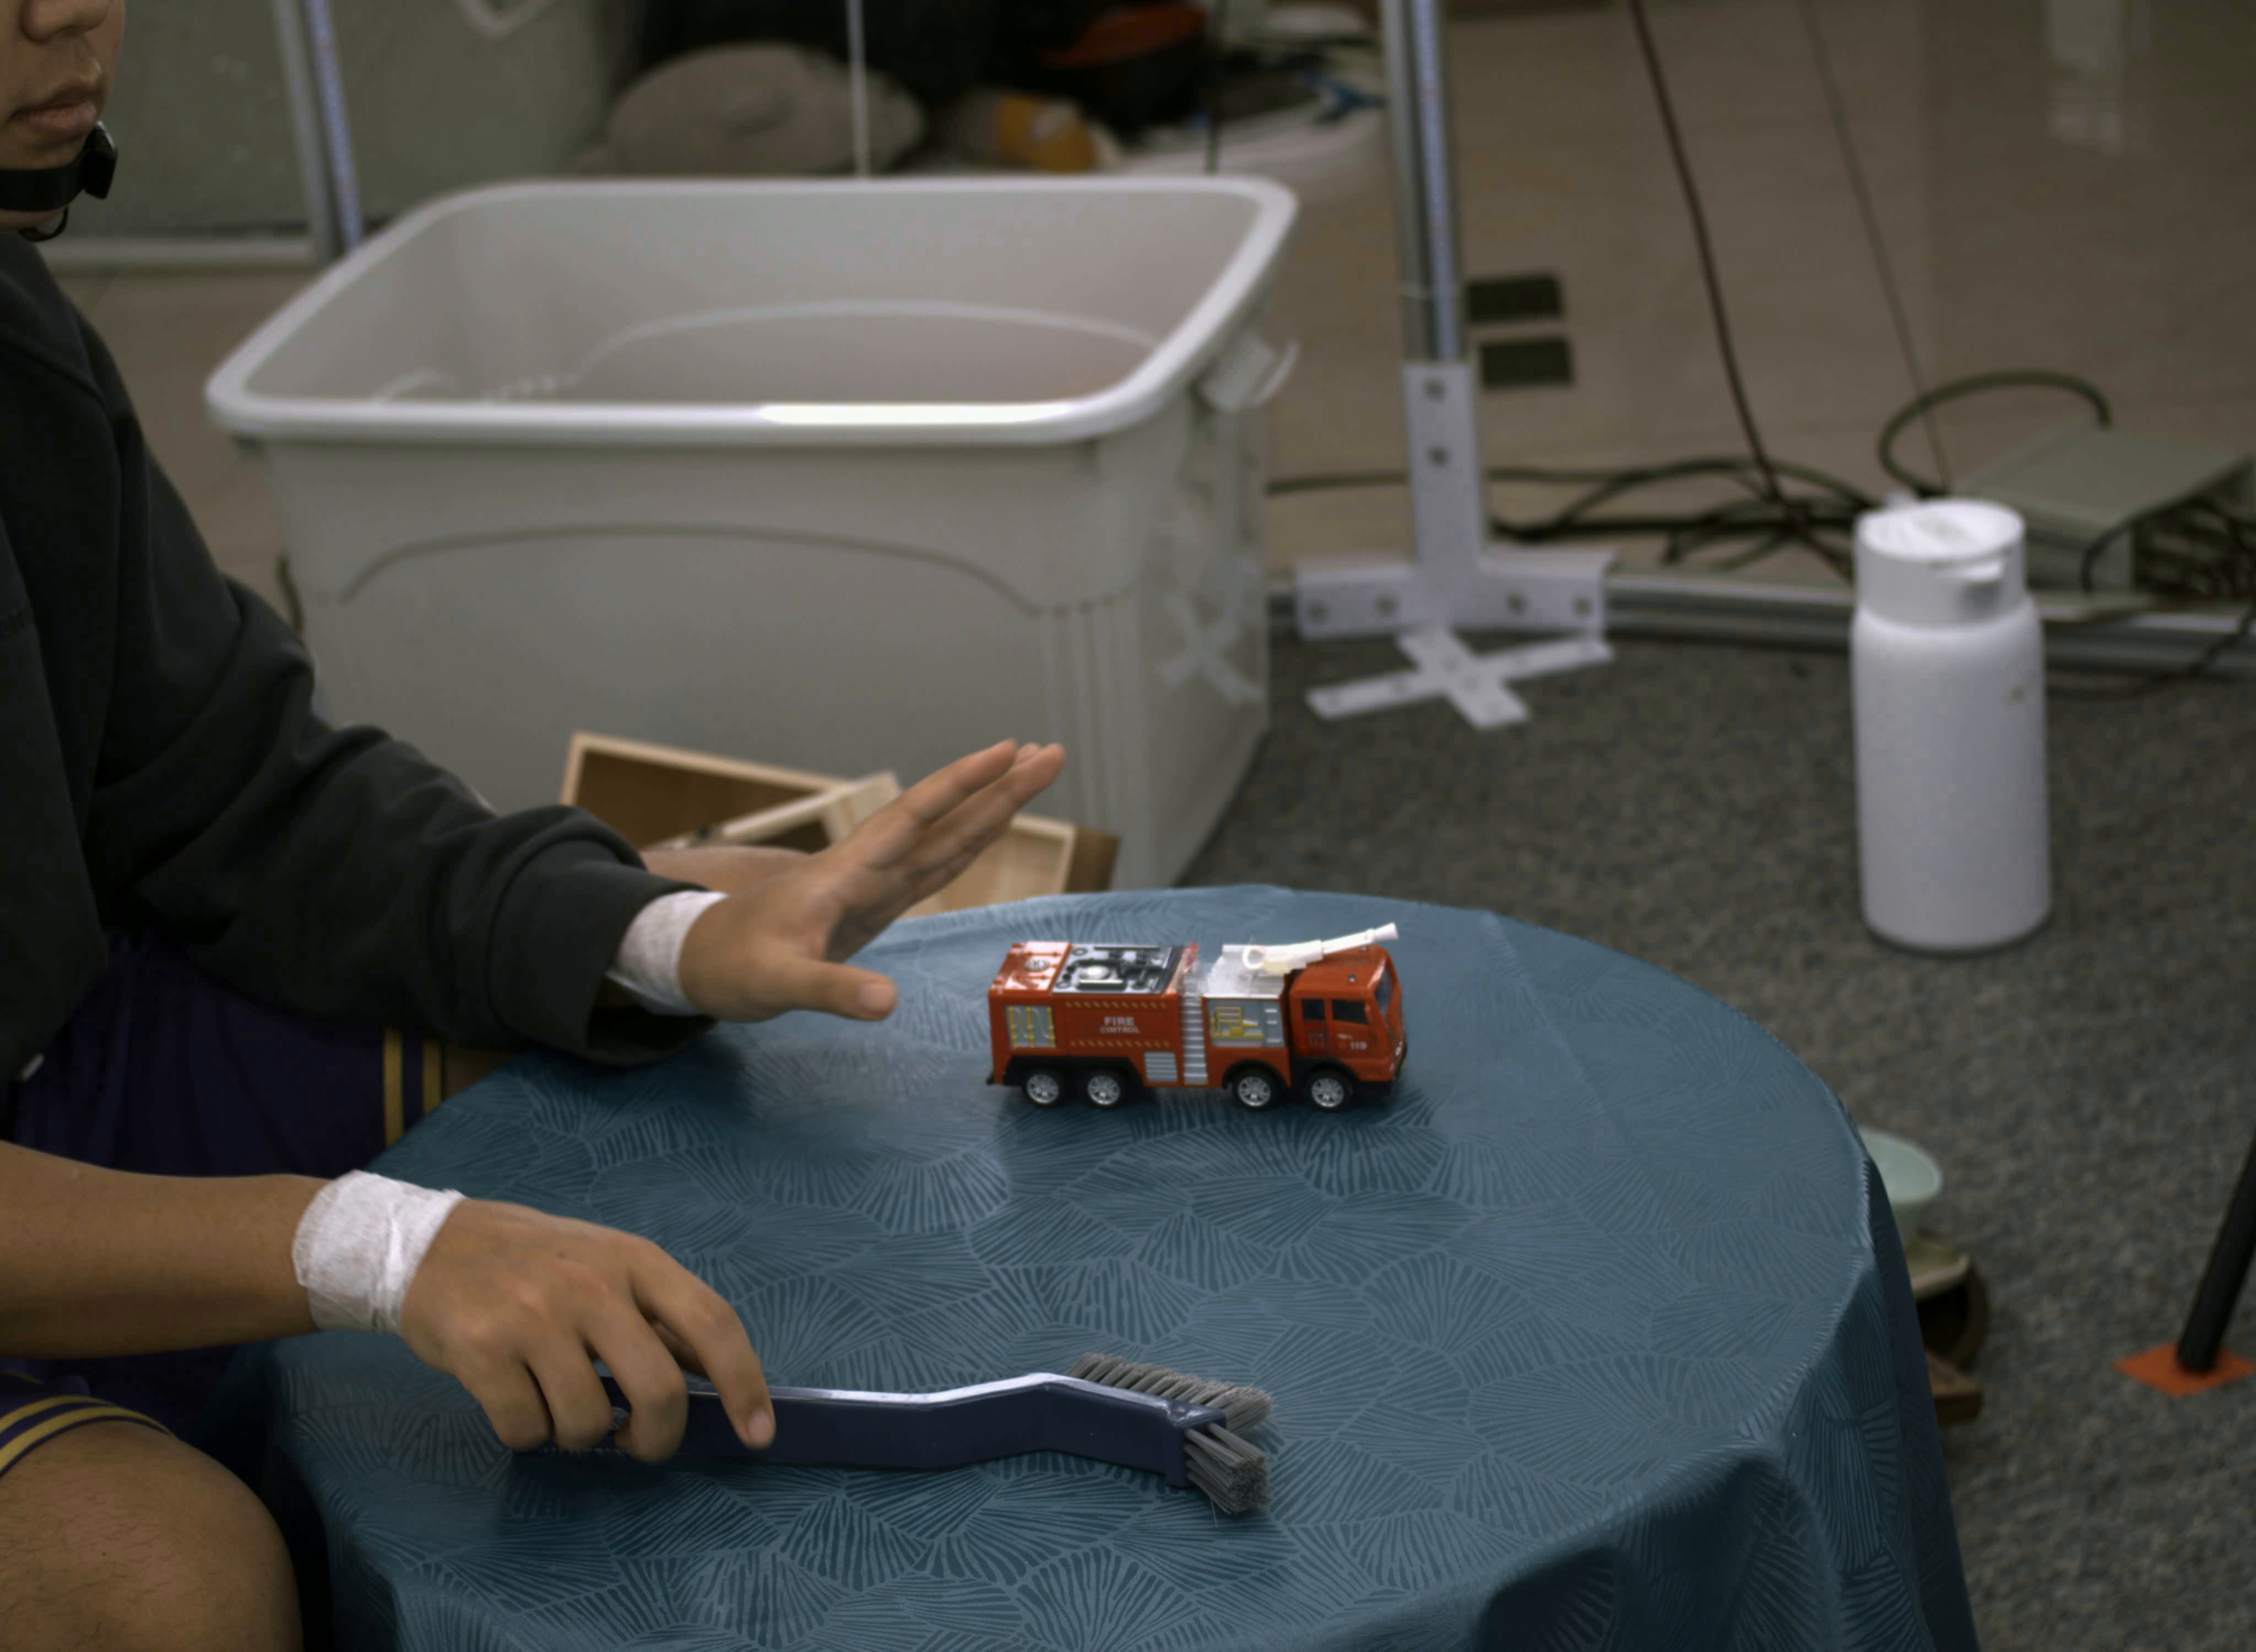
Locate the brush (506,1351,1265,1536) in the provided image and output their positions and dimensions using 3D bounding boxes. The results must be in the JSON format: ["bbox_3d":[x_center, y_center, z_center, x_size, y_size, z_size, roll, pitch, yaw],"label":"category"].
[{"bbox_3d":[-0.089,0.211,1.975,0.273,0.034,0.094,-1,25,8],"label":"brush"}]

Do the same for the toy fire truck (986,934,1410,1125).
[{"bbox_3d":[0.028,0.075,2.206,0.167,0.071,0.053,-1,27,14],"label":"toy fire truck"}]
